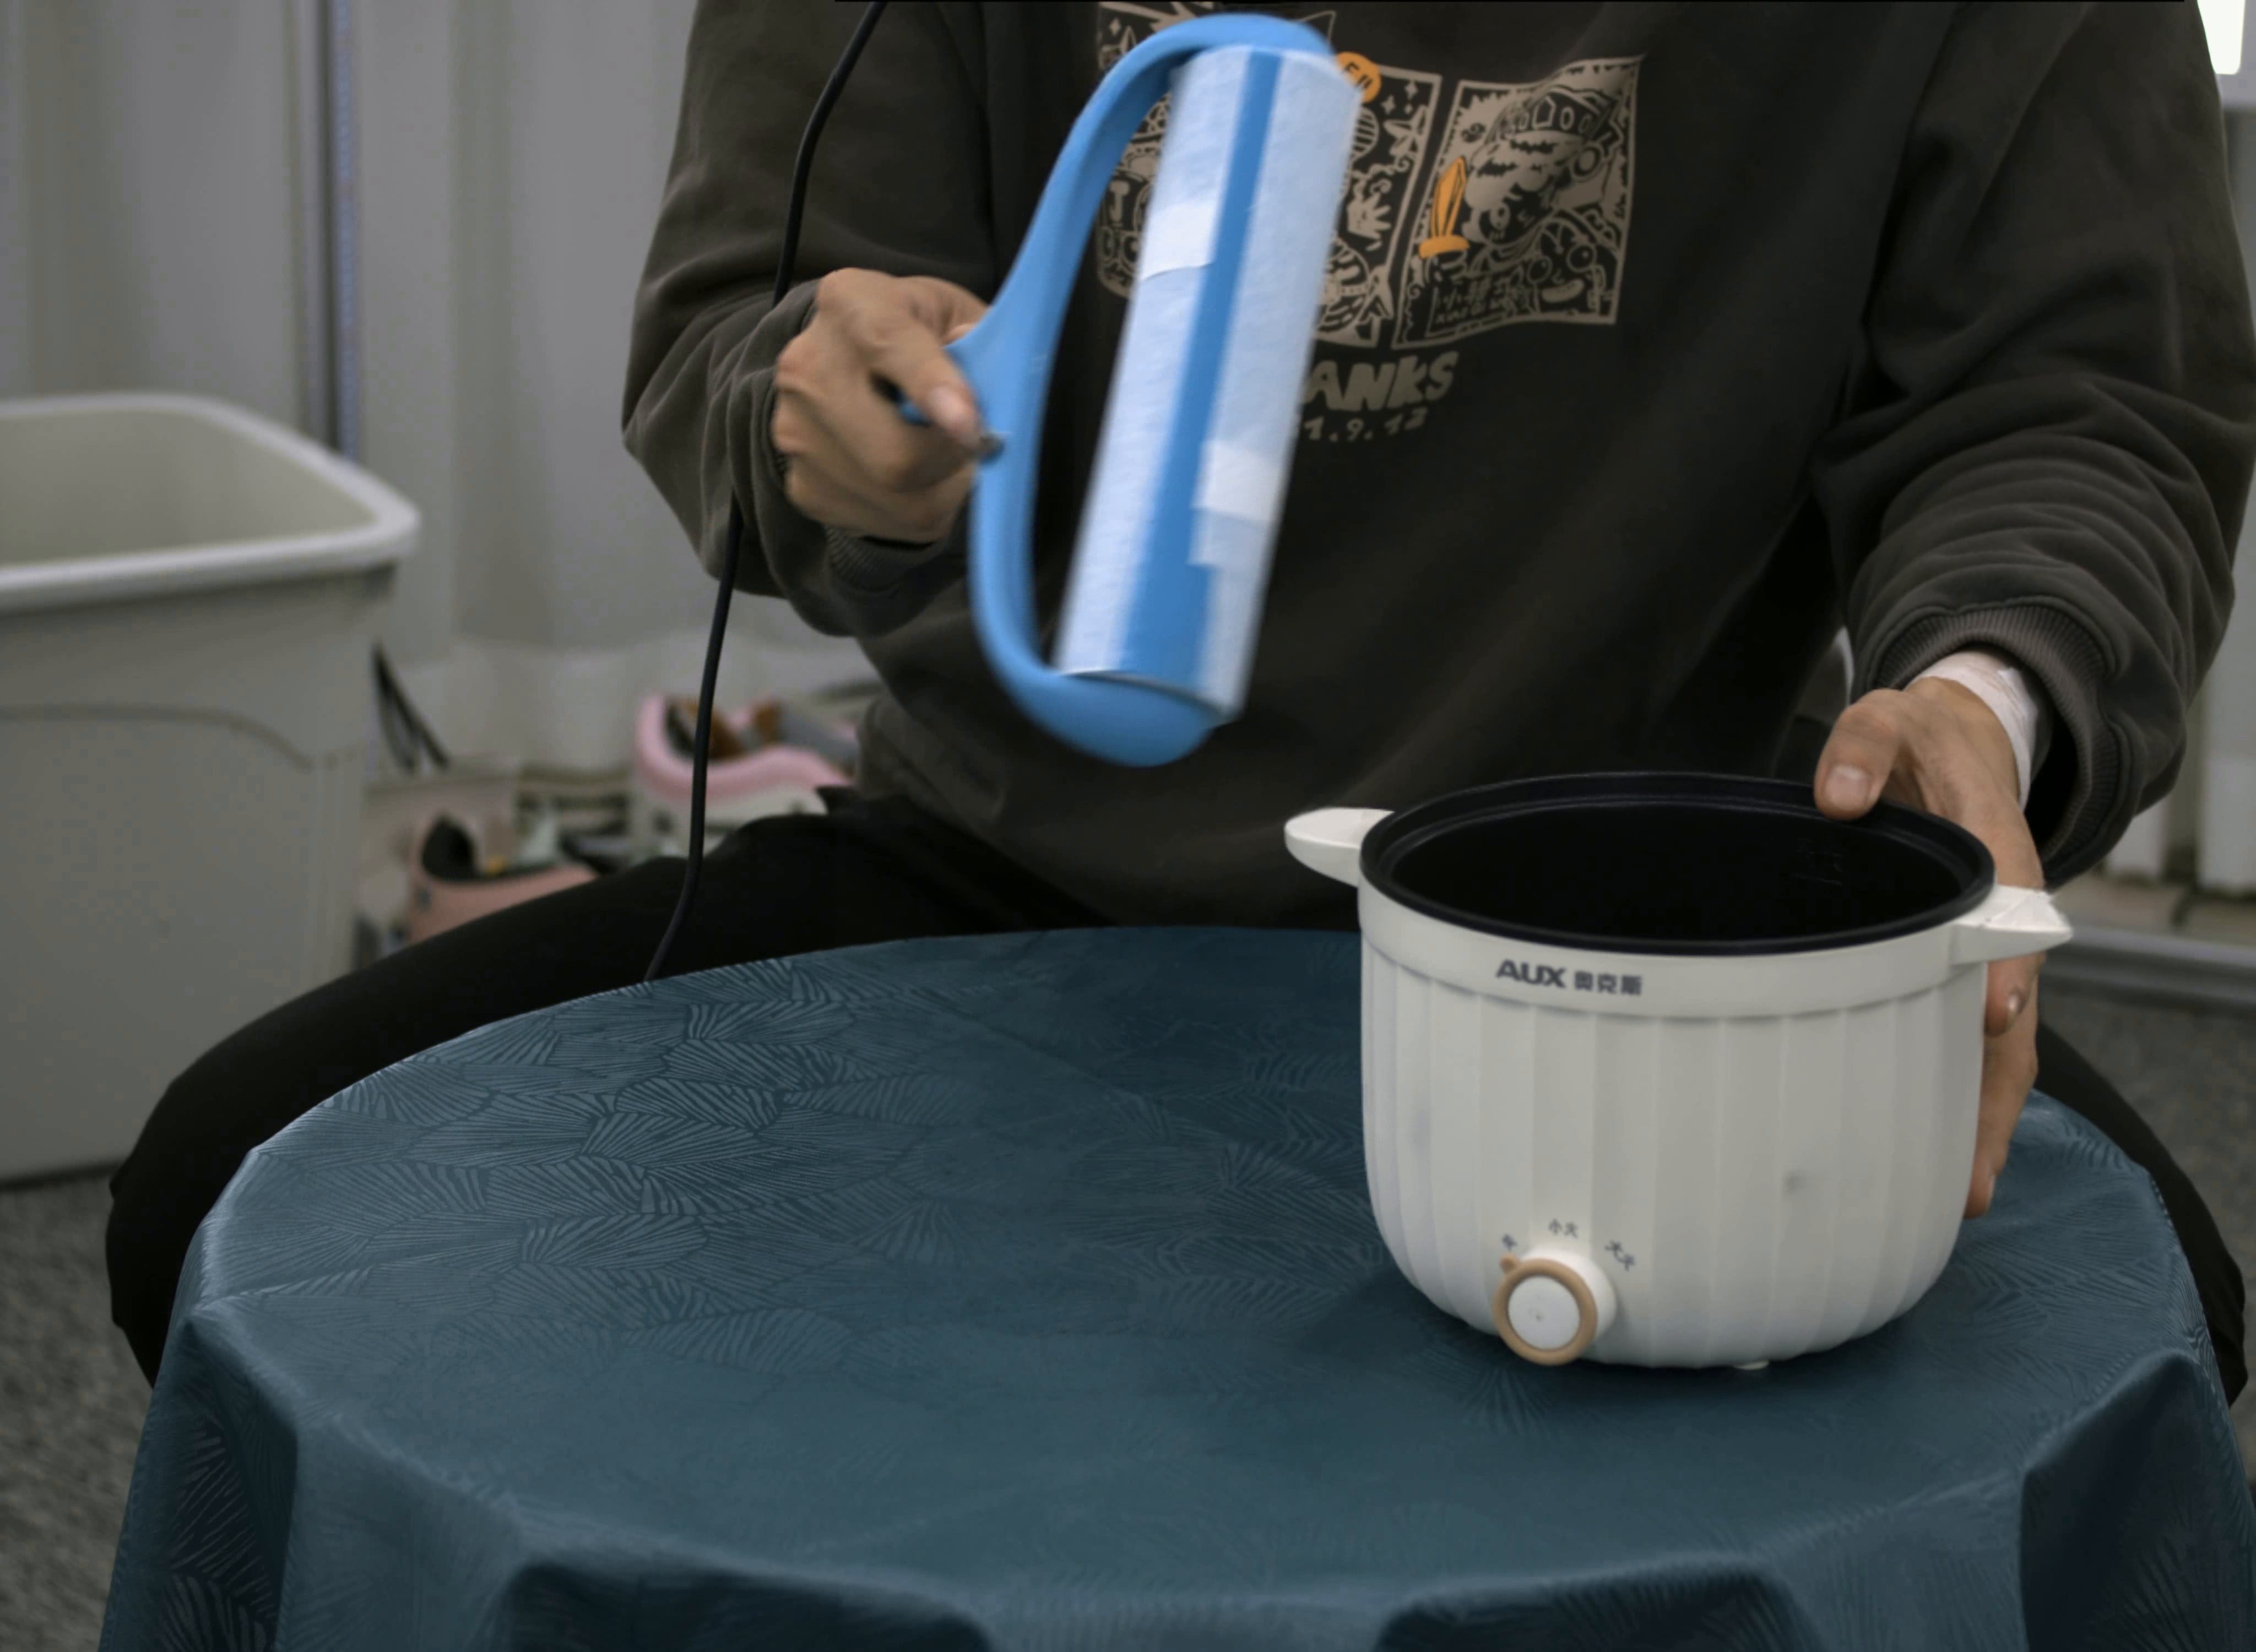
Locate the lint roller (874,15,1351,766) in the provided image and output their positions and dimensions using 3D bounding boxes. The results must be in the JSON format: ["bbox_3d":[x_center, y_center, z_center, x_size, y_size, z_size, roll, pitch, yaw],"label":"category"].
[{"bbox_3d":[-0.027,-0.126,1.562,0.178,0.228,0.069,-2,-18,41],"label":"lint roller"}]

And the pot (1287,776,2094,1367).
[{"bbox_3d":[0.156,0.073,1.517,0.238,0.143,0.191,6,13,23],"label":"pot"}]
